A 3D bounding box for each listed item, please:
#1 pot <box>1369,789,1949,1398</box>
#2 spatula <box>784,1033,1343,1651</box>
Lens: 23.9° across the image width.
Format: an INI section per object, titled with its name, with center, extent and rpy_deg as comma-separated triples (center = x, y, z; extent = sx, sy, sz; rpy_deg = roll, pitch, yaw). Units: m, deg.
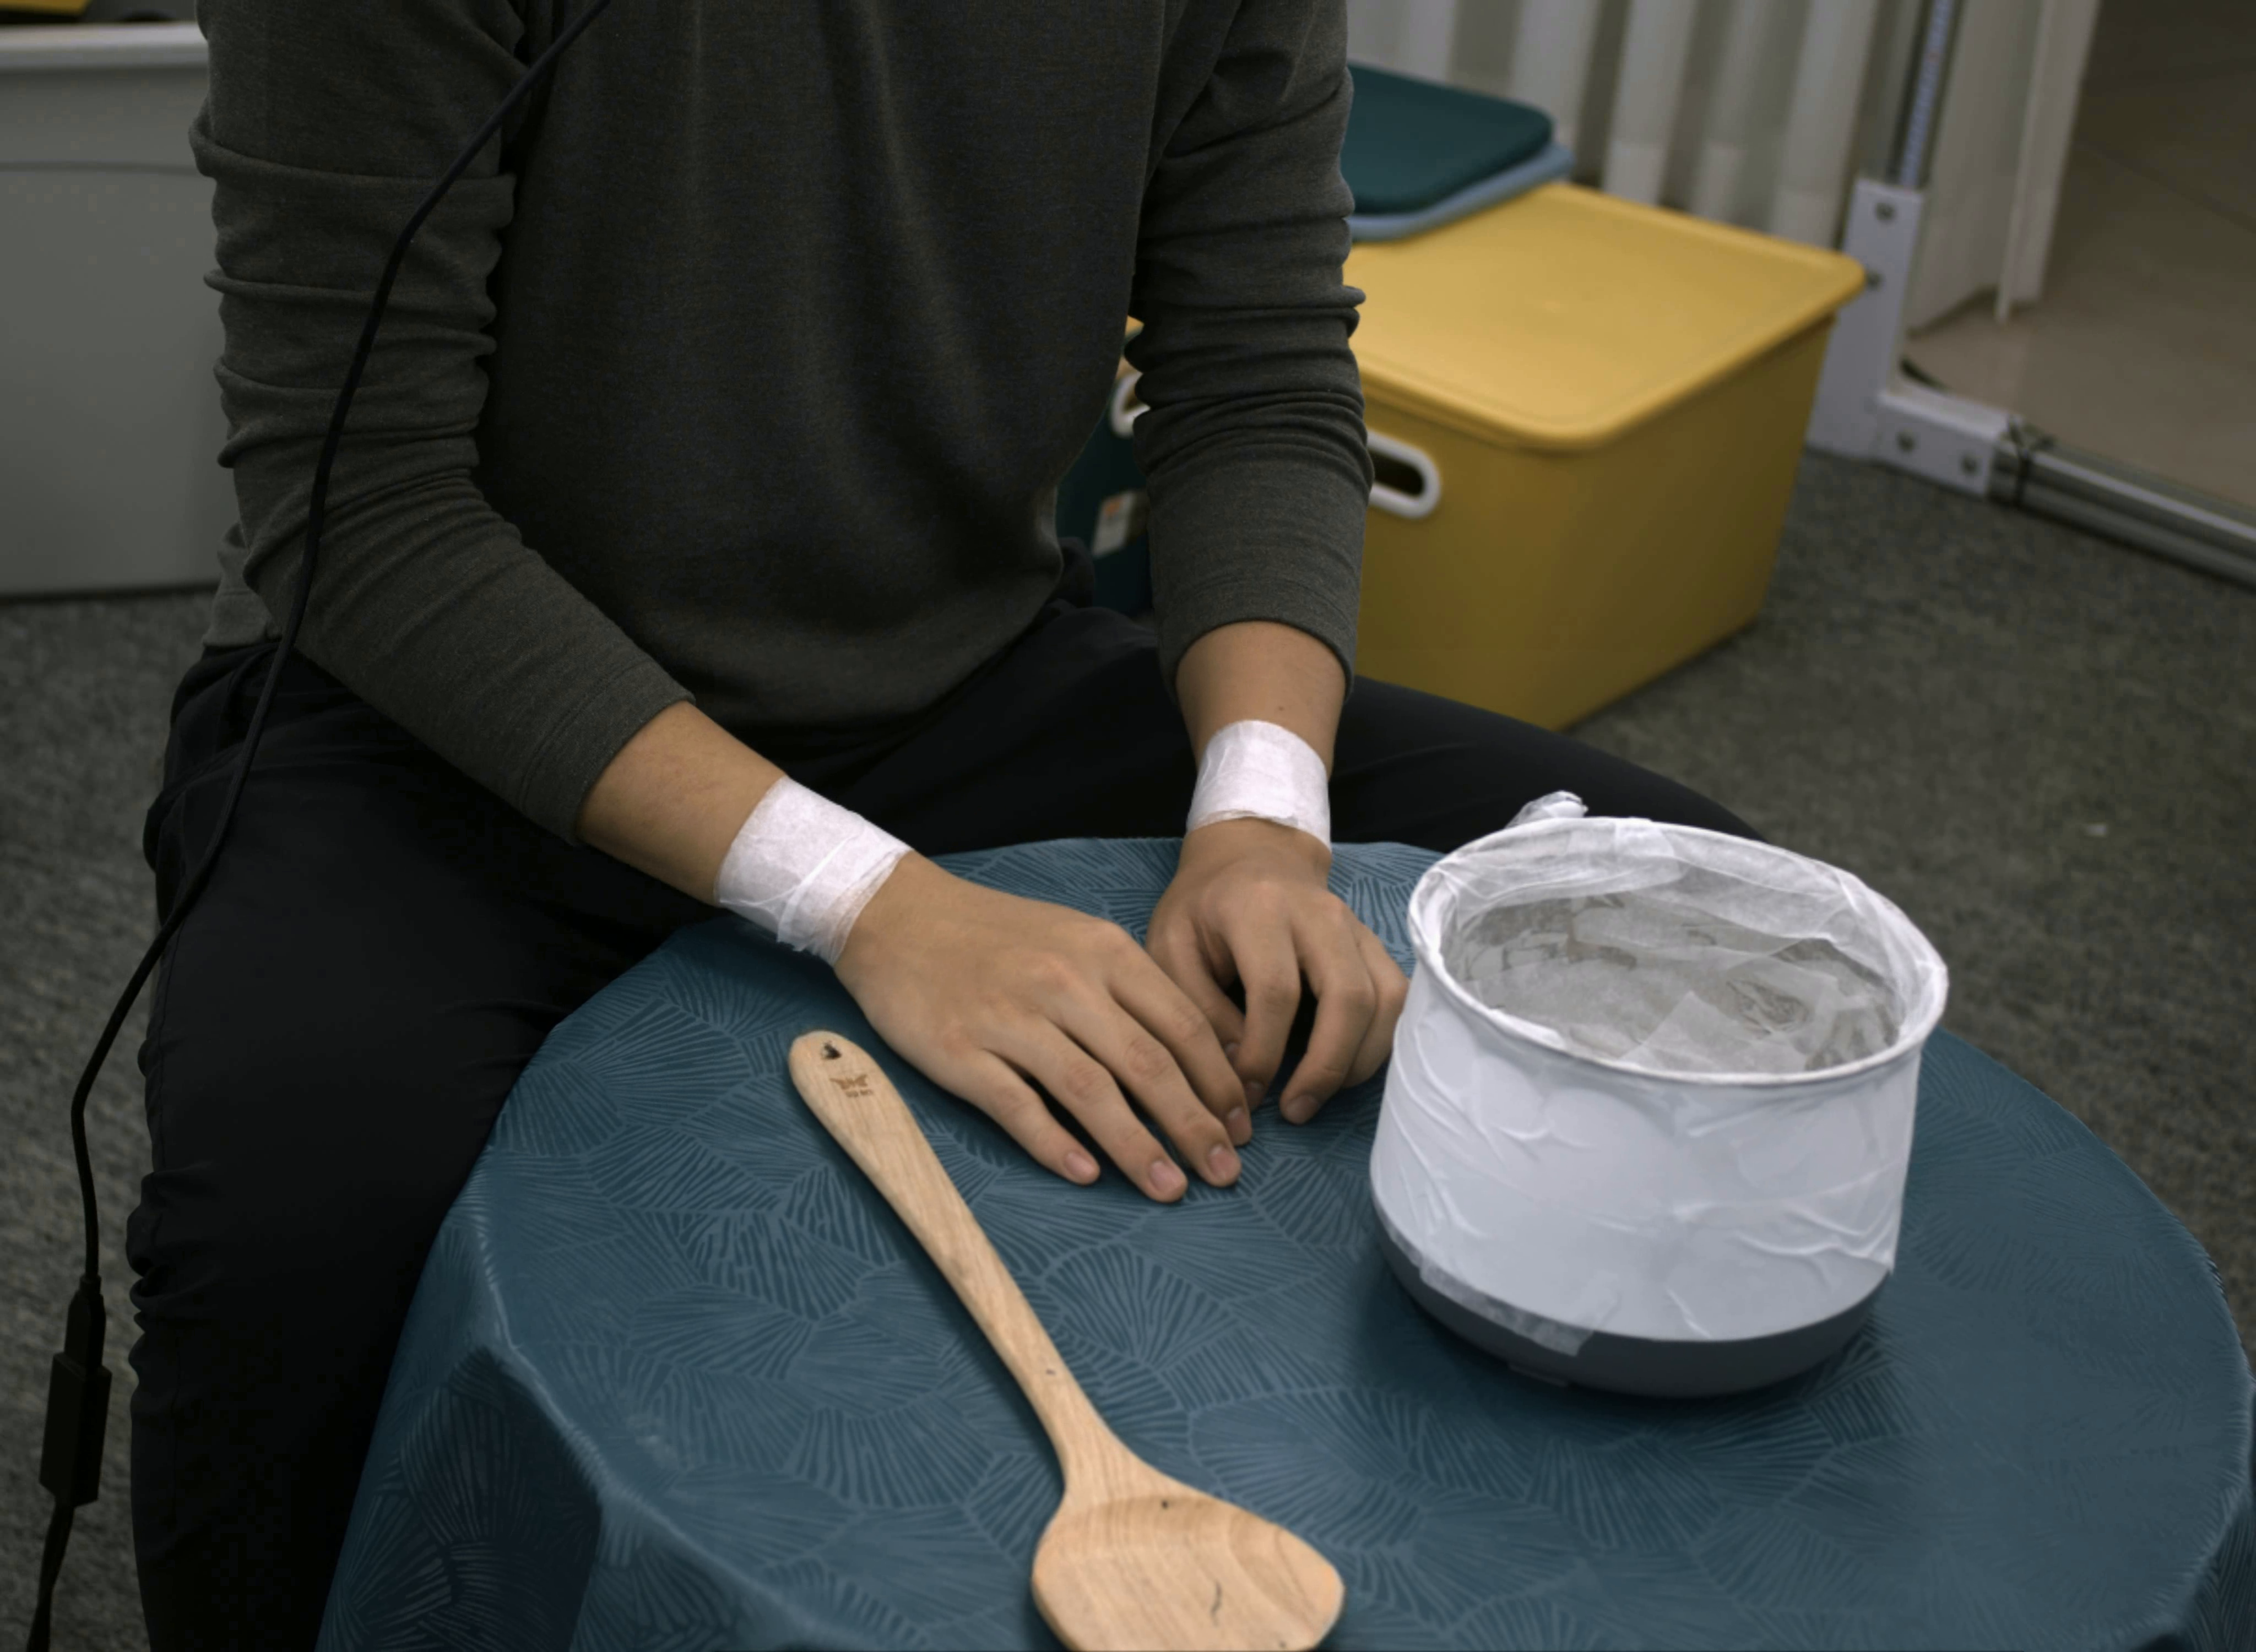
[pot]
center = 0.162, 0.081, 1.775
extent = 0.177, 0.136, 0.236
rpy_deg = -3, 28, -20
[spatula]
center = -0.044, 0.161, 1.704
extent = 0.095, 0.018, 0.394
rpy_deg = -3, 28, -23
